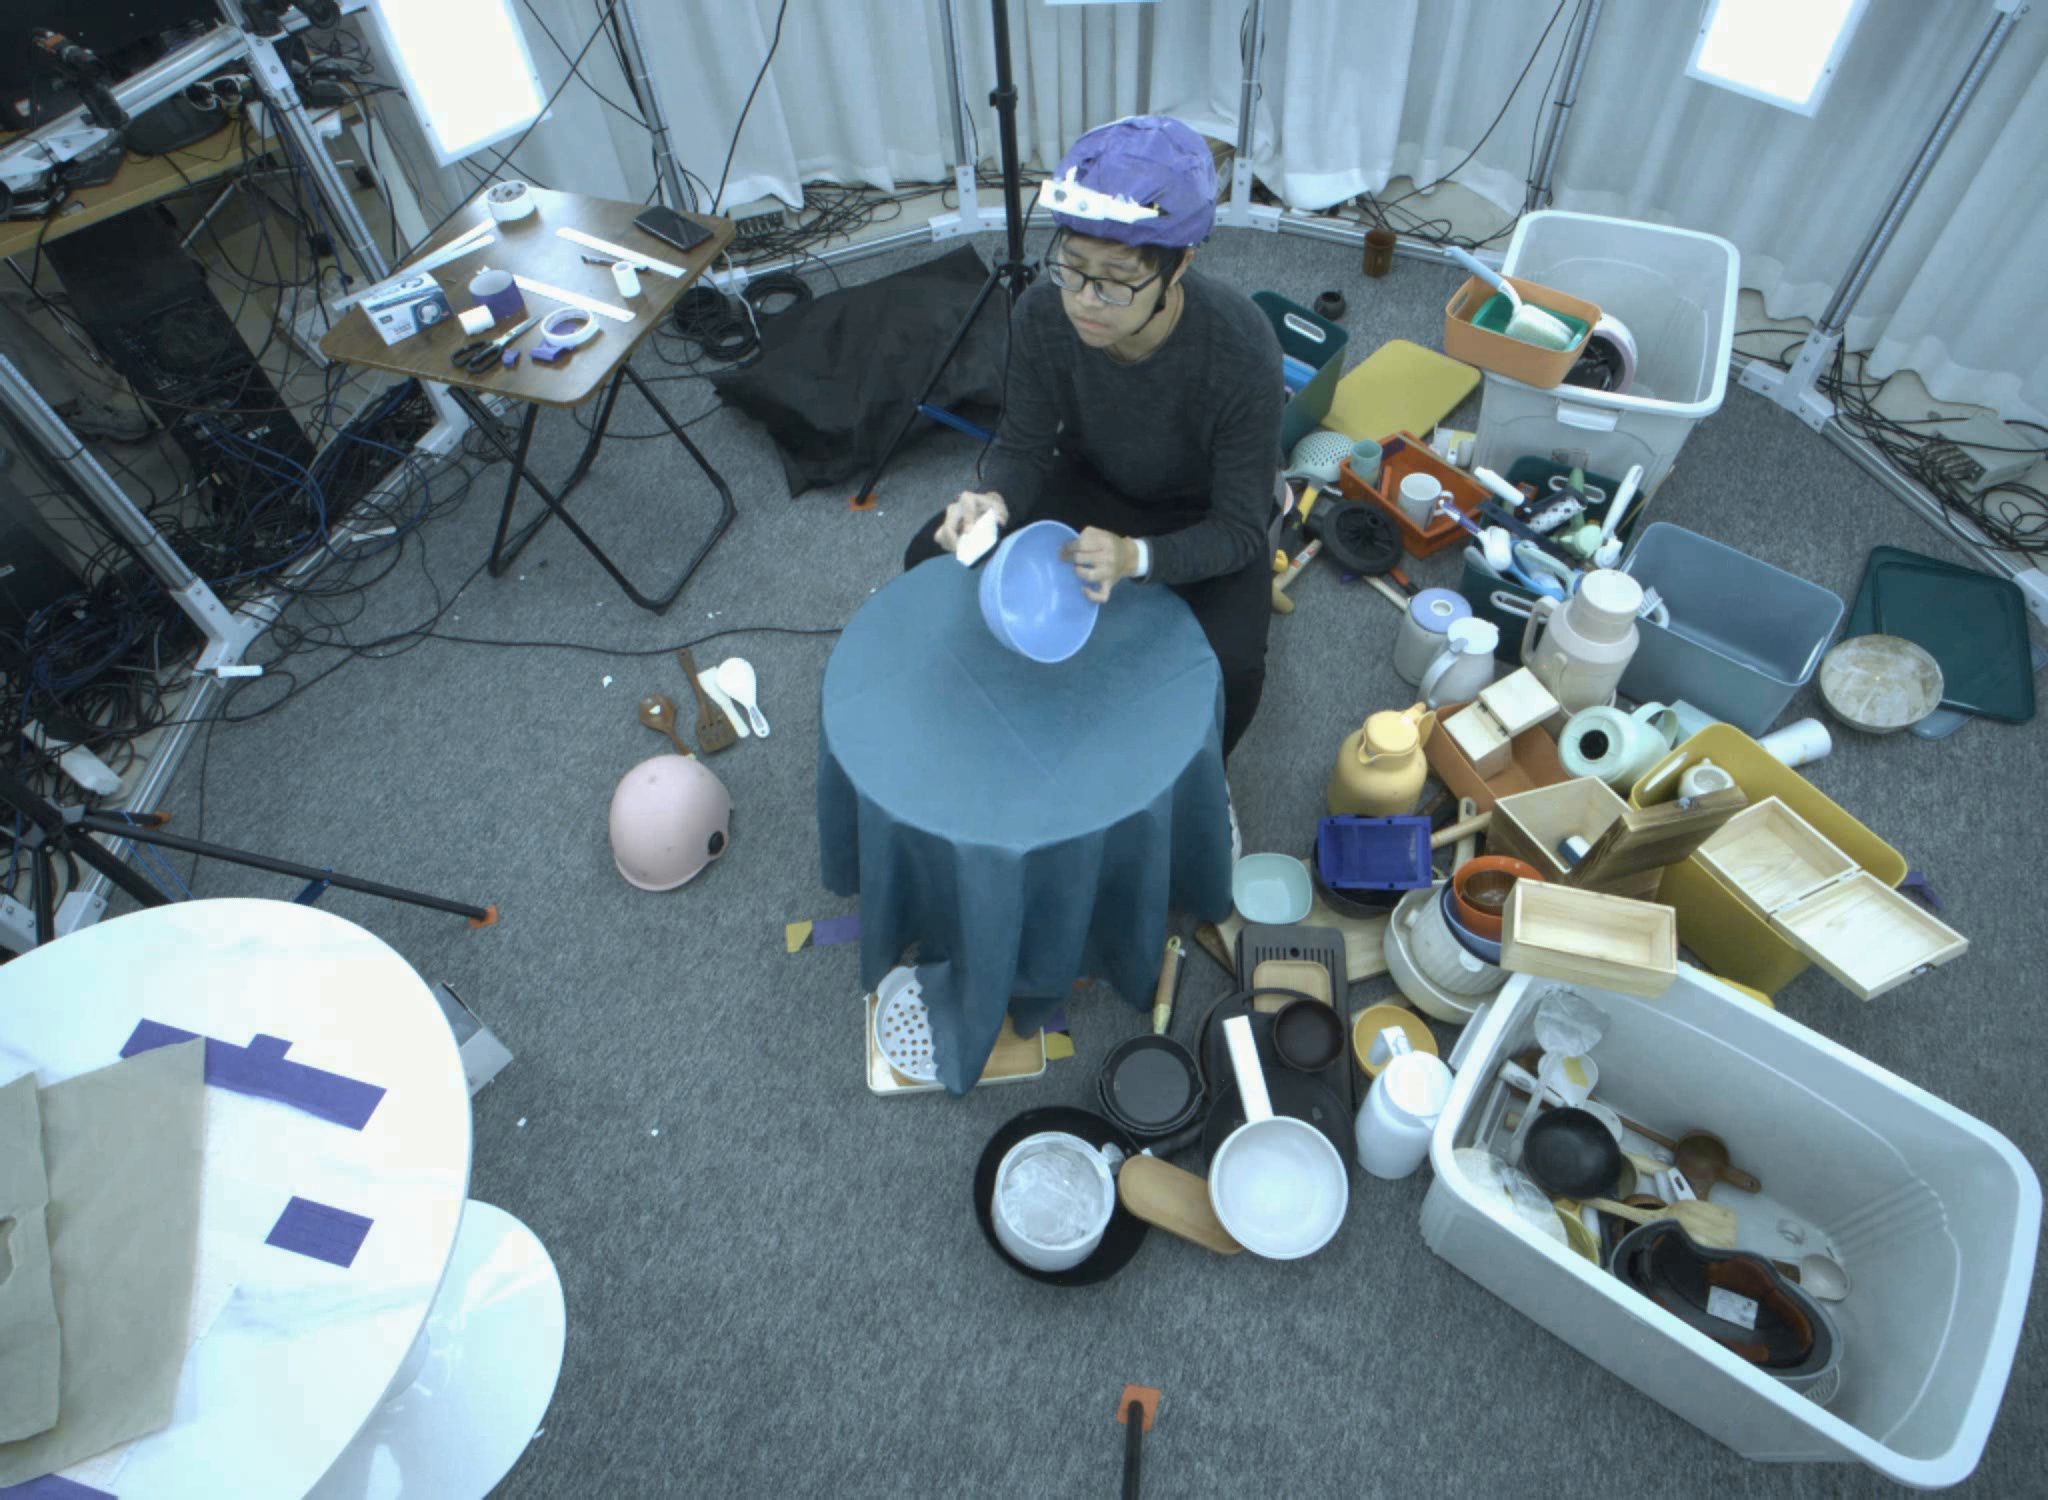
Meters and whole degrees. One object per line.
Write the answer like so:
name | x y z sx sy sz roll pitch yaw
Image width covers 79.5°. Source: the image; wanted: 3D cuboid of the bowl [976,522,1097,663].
bowl | 0.003 -0.223 1.746 0.093 0.200 0.197 7 49 47

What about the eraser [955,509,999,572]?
eraser | -0.066 -0.300 1.731 0.063 0.035 0.130 -36 25 19
